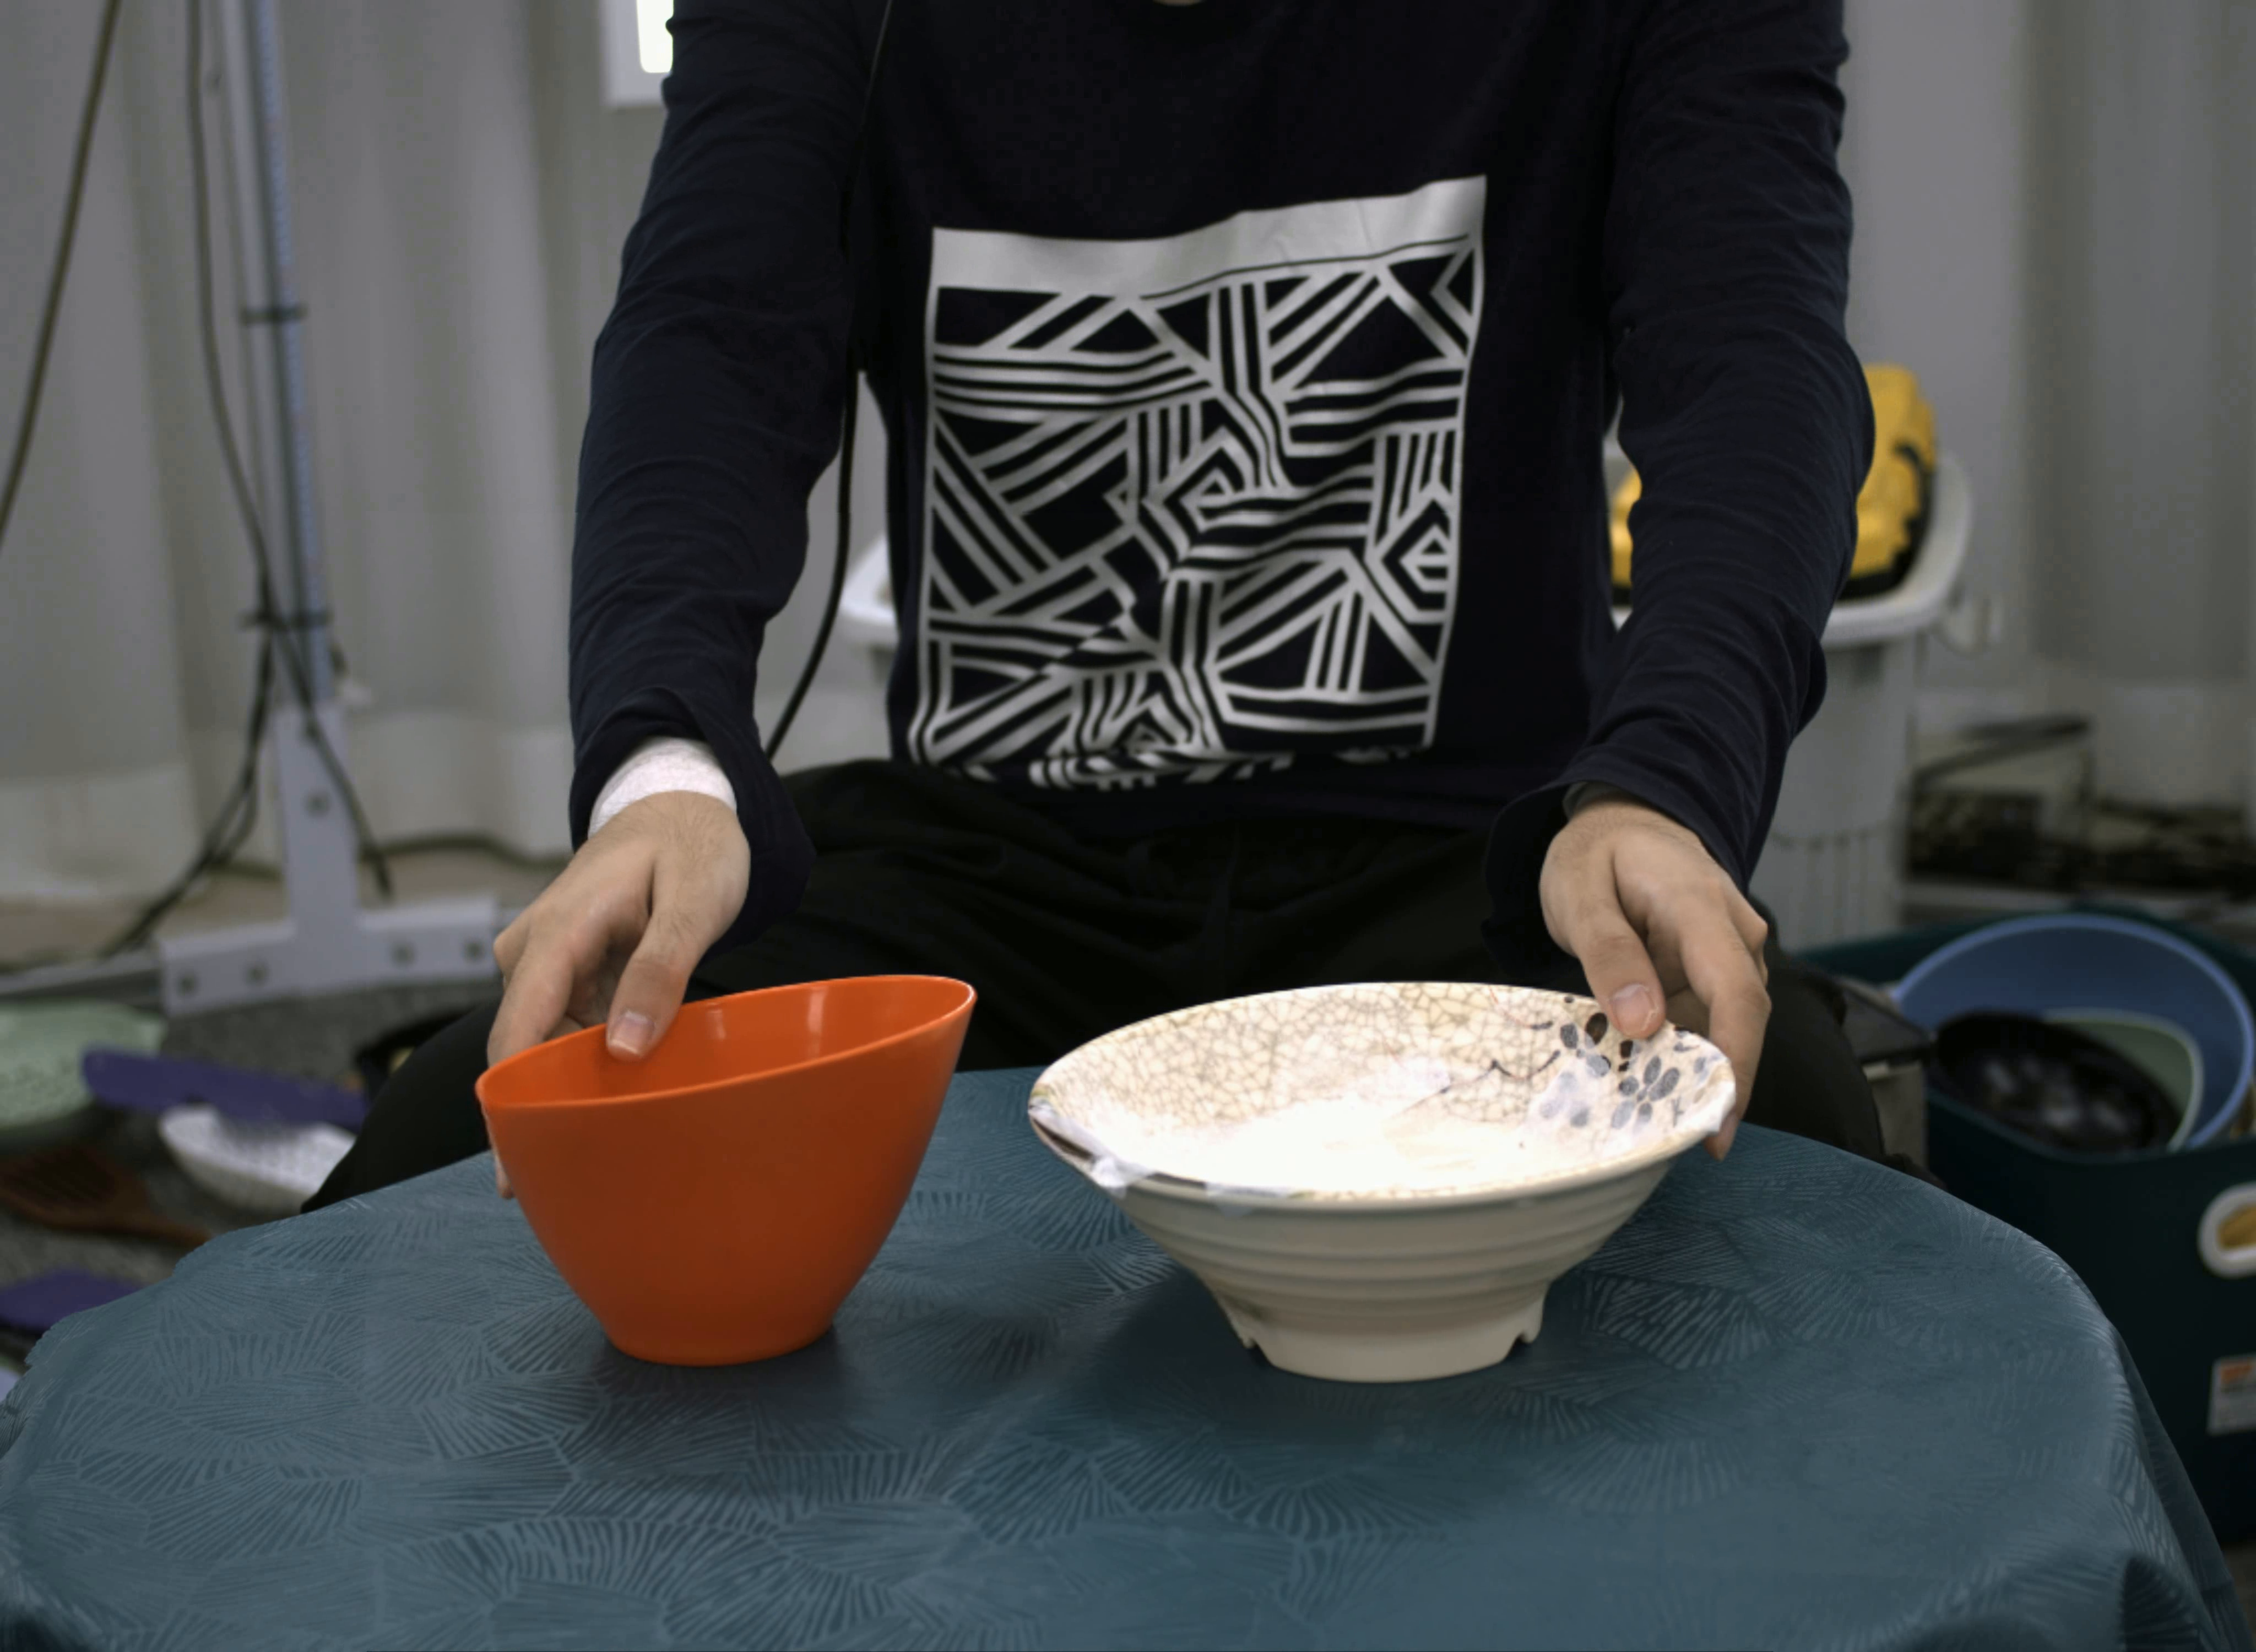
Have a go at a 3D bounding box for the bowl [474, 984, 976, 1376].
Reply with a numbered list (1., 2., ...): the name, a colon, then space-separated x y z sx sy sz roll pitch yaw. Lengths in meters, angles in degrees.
1. bowl: -0.115 0.103 1.594 0.147 0.104 0.149 -3 13 0

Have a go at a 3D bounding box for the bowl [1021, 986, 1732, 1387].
1. bowl: 0.071 0.110 1.572 0.203 0.077 0.205 -1 14 0
